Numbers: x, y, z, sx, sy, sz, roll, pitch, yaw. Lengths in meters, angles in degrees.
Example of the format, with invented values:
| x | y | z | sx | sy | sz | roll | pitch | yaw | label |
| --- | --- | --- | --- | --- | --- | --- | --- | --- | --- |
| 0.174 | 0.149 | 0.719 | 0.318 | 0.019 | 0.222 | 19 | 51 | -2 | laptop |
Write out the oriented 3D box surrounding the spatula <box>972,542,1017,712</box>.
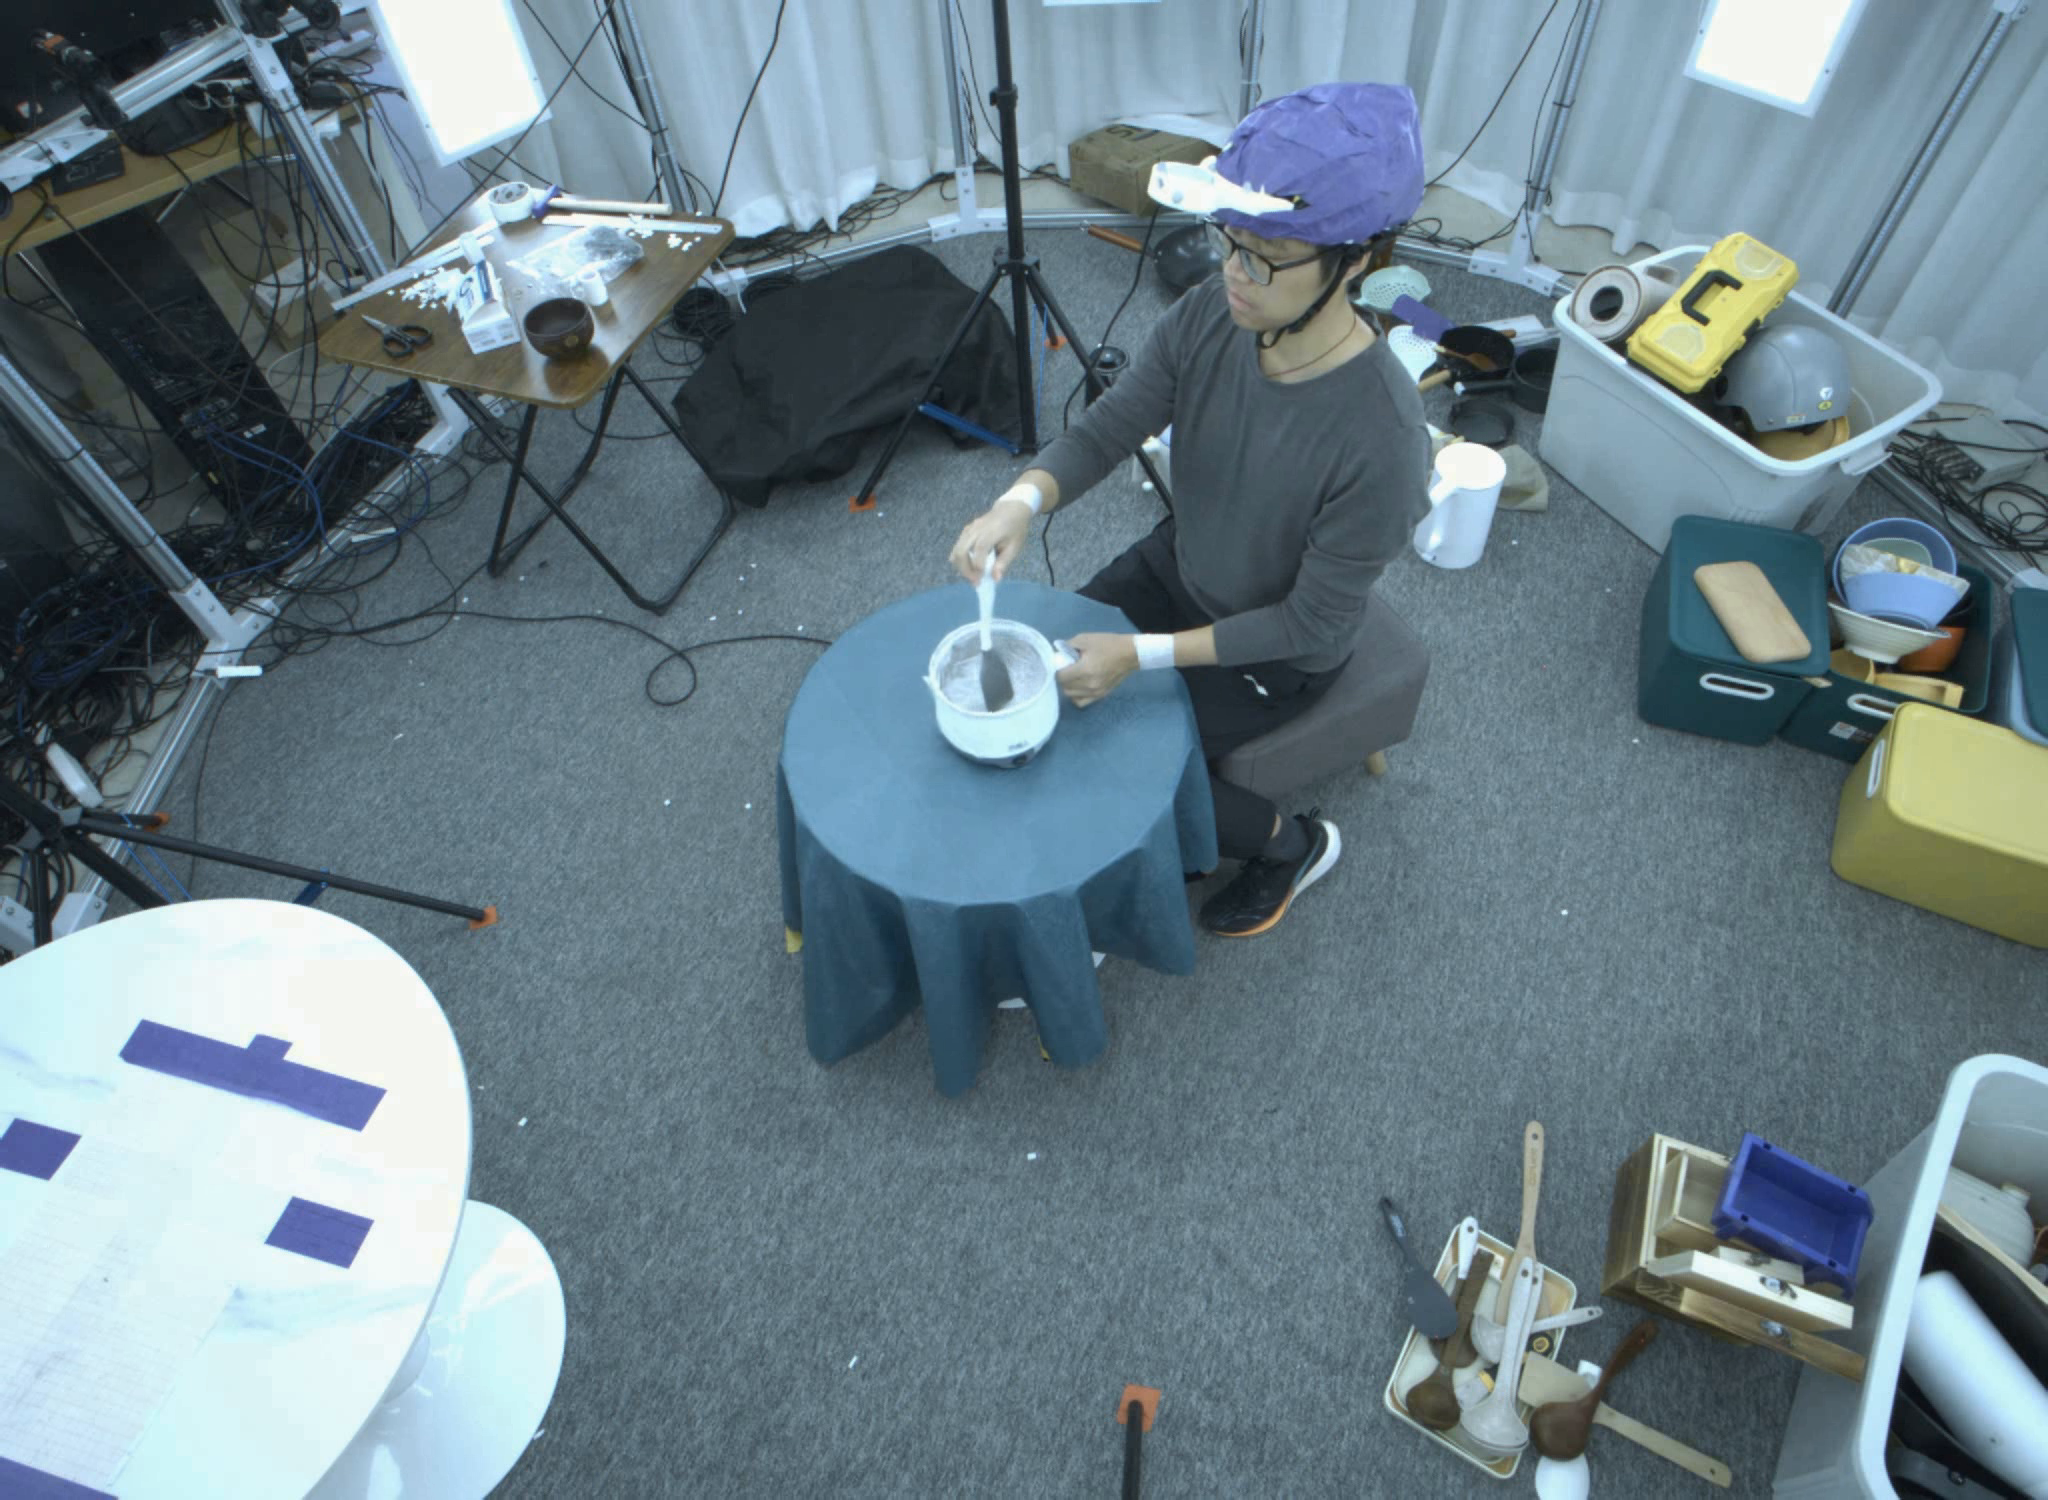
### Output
| x | y | z | sx | sy | sz | roll | pitch | yaw | label |
| --- | --- | --- | --- | --- | --- | --- | --- | --- | --- |
| -0.043 | -0.158 | 1.654 | 0.031 | 0.291 | 0.059 | 35 | 60 | 29 | spatula |

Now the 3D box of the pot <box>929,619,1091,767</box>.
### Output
| x | y | z | sx | sy | sz | roll | pitch | yaw | label |
| --- | --- | --- | --- | --- | --- | --- | --- | --- | --- |
| -0.016 | -0.090 | 1.775 | 0.235 | 0.138 | 0.175 | -20 | 56 | -12 | pot |
